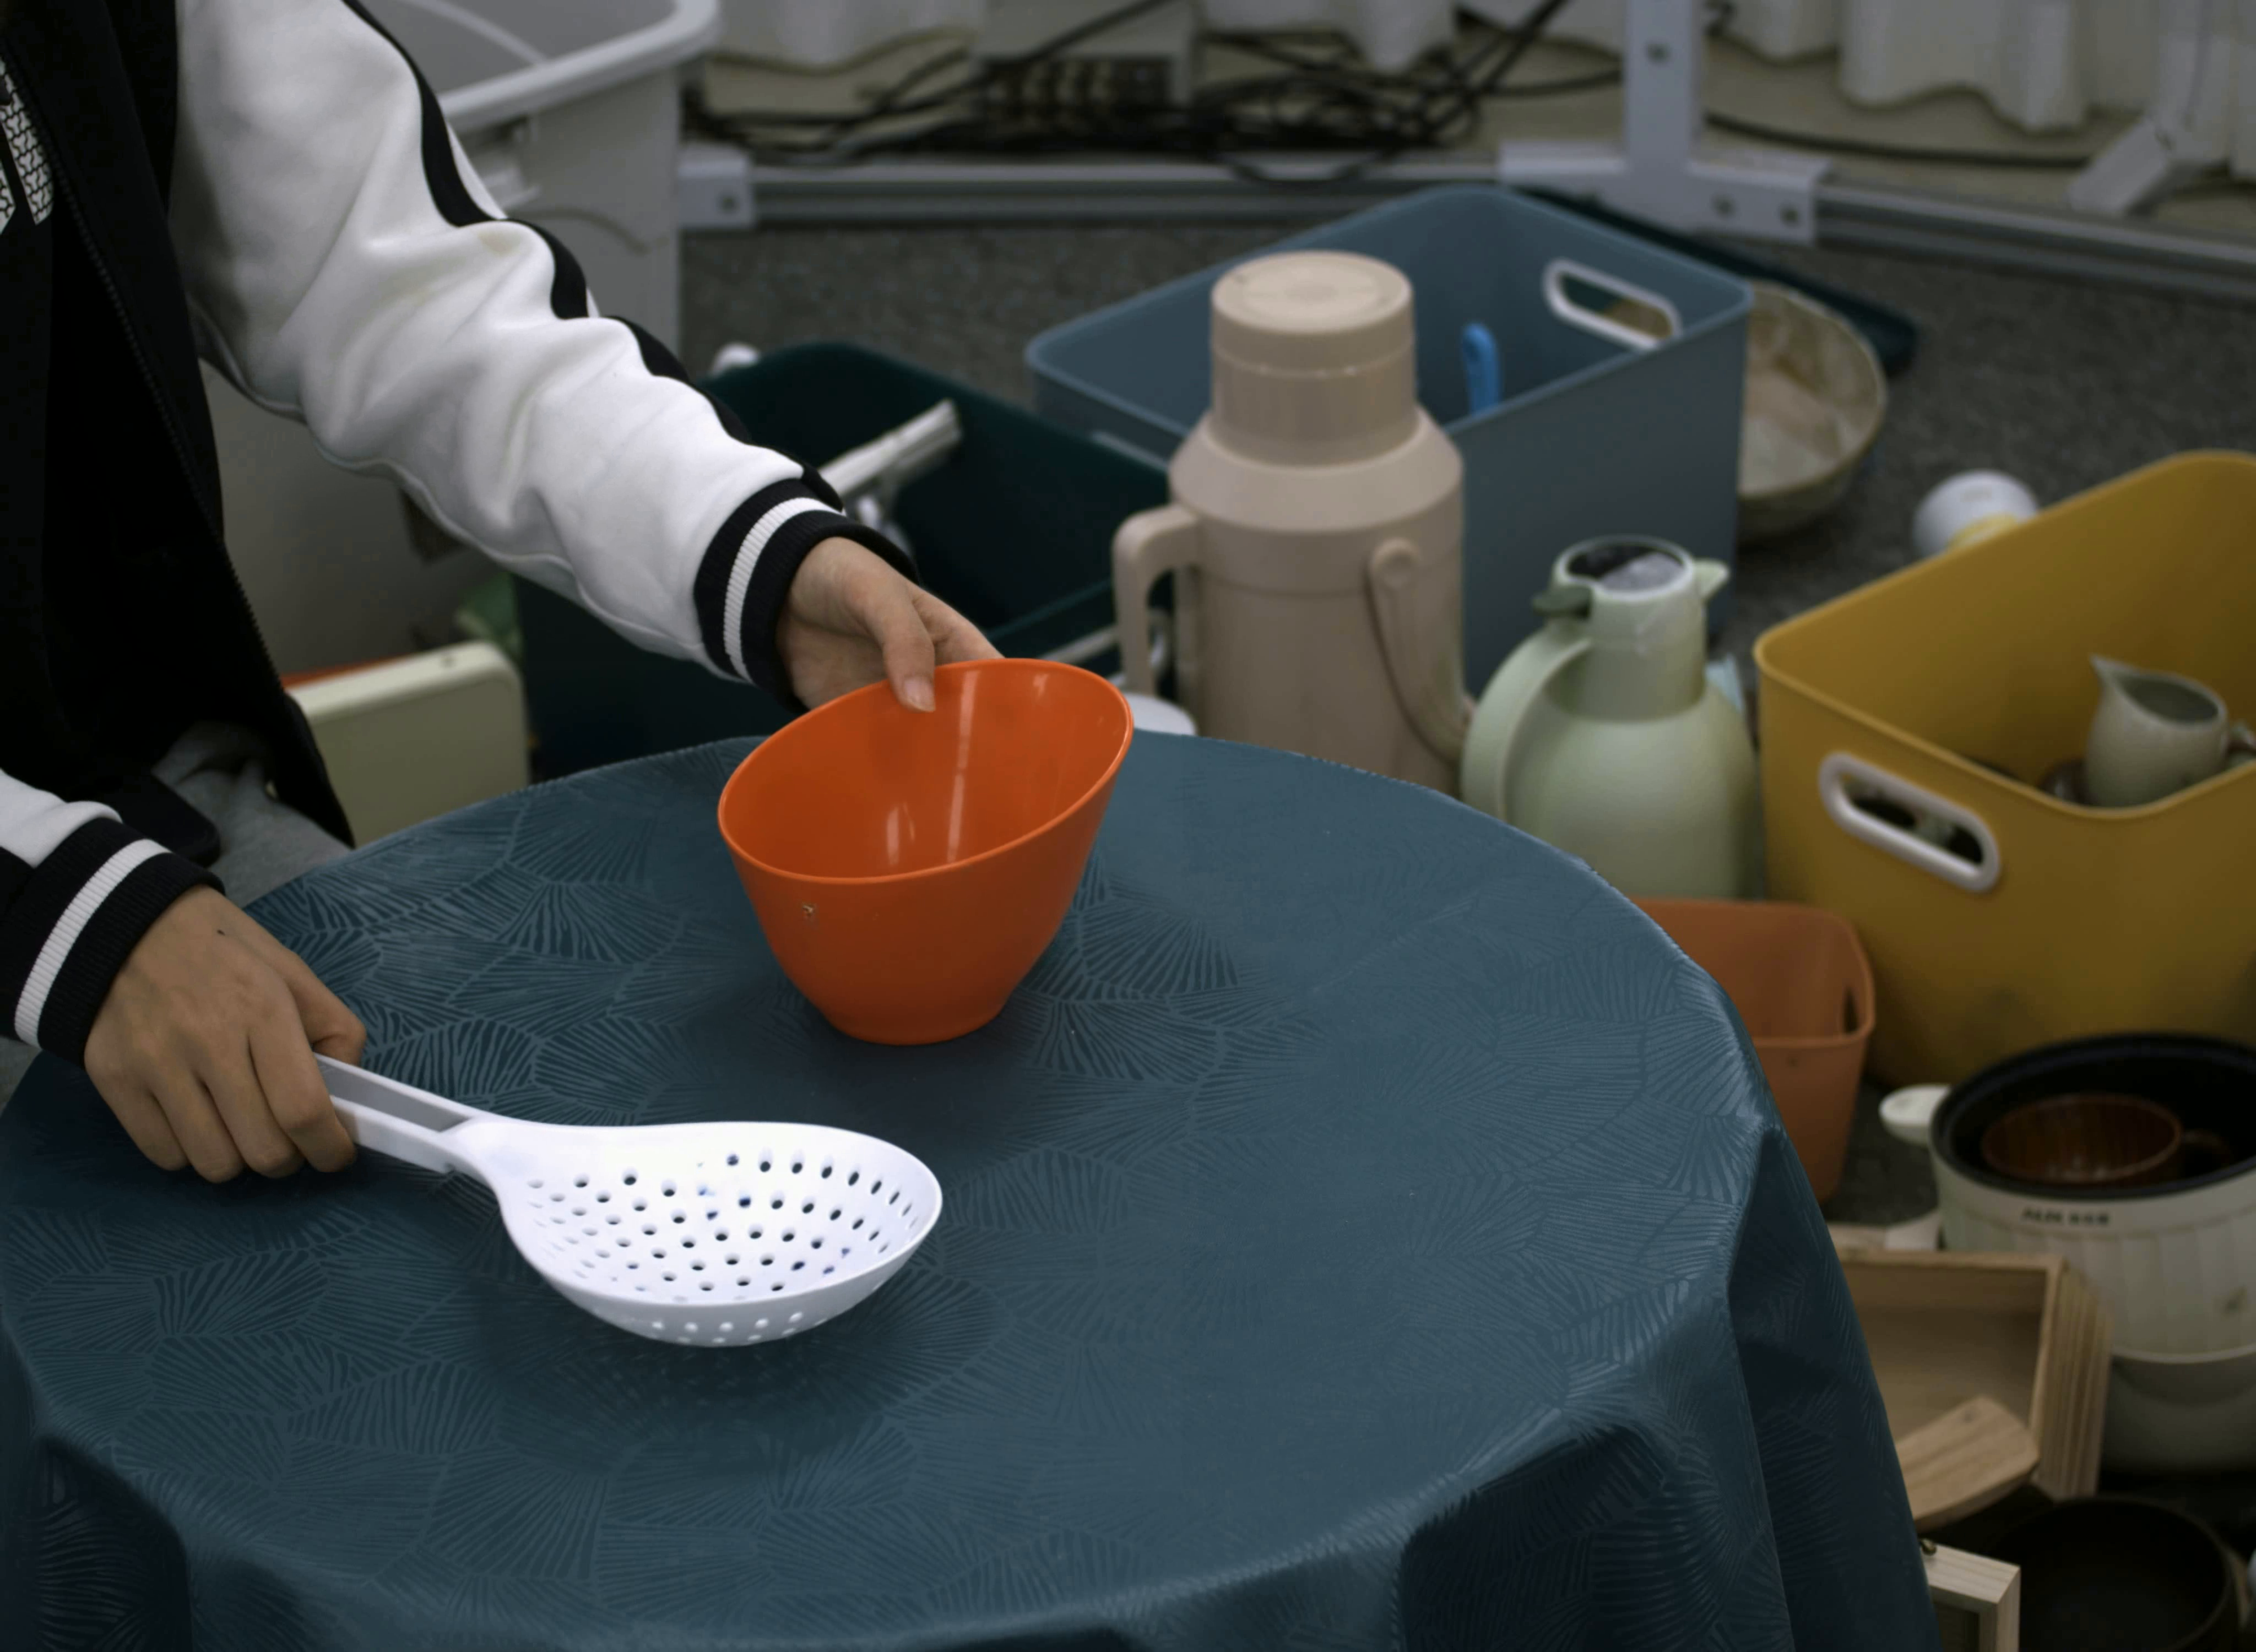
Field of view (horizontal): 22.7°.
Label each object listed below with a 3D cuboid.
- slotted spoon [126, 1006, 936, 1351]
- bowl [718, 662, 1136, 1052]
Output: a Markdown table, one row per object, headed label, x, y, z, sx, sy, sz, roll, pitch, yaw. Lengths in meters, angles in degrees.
| label | x | y | z | sx | sy | sz | roll | pitch | yaw |
| --- | --- | --- | --- | --- | --- | --- | --- | --- | --- |
| slotted spoon | -0.210 | 0.109 | 1.854 | 0.349 | 0.045 | 0.138 | 20 | 30 | 36 |
| bowl | -0.067 | 0.017 | 1.963 | 0.147 | 0.103 | 0.150 | -3 | 28 | 2 |
